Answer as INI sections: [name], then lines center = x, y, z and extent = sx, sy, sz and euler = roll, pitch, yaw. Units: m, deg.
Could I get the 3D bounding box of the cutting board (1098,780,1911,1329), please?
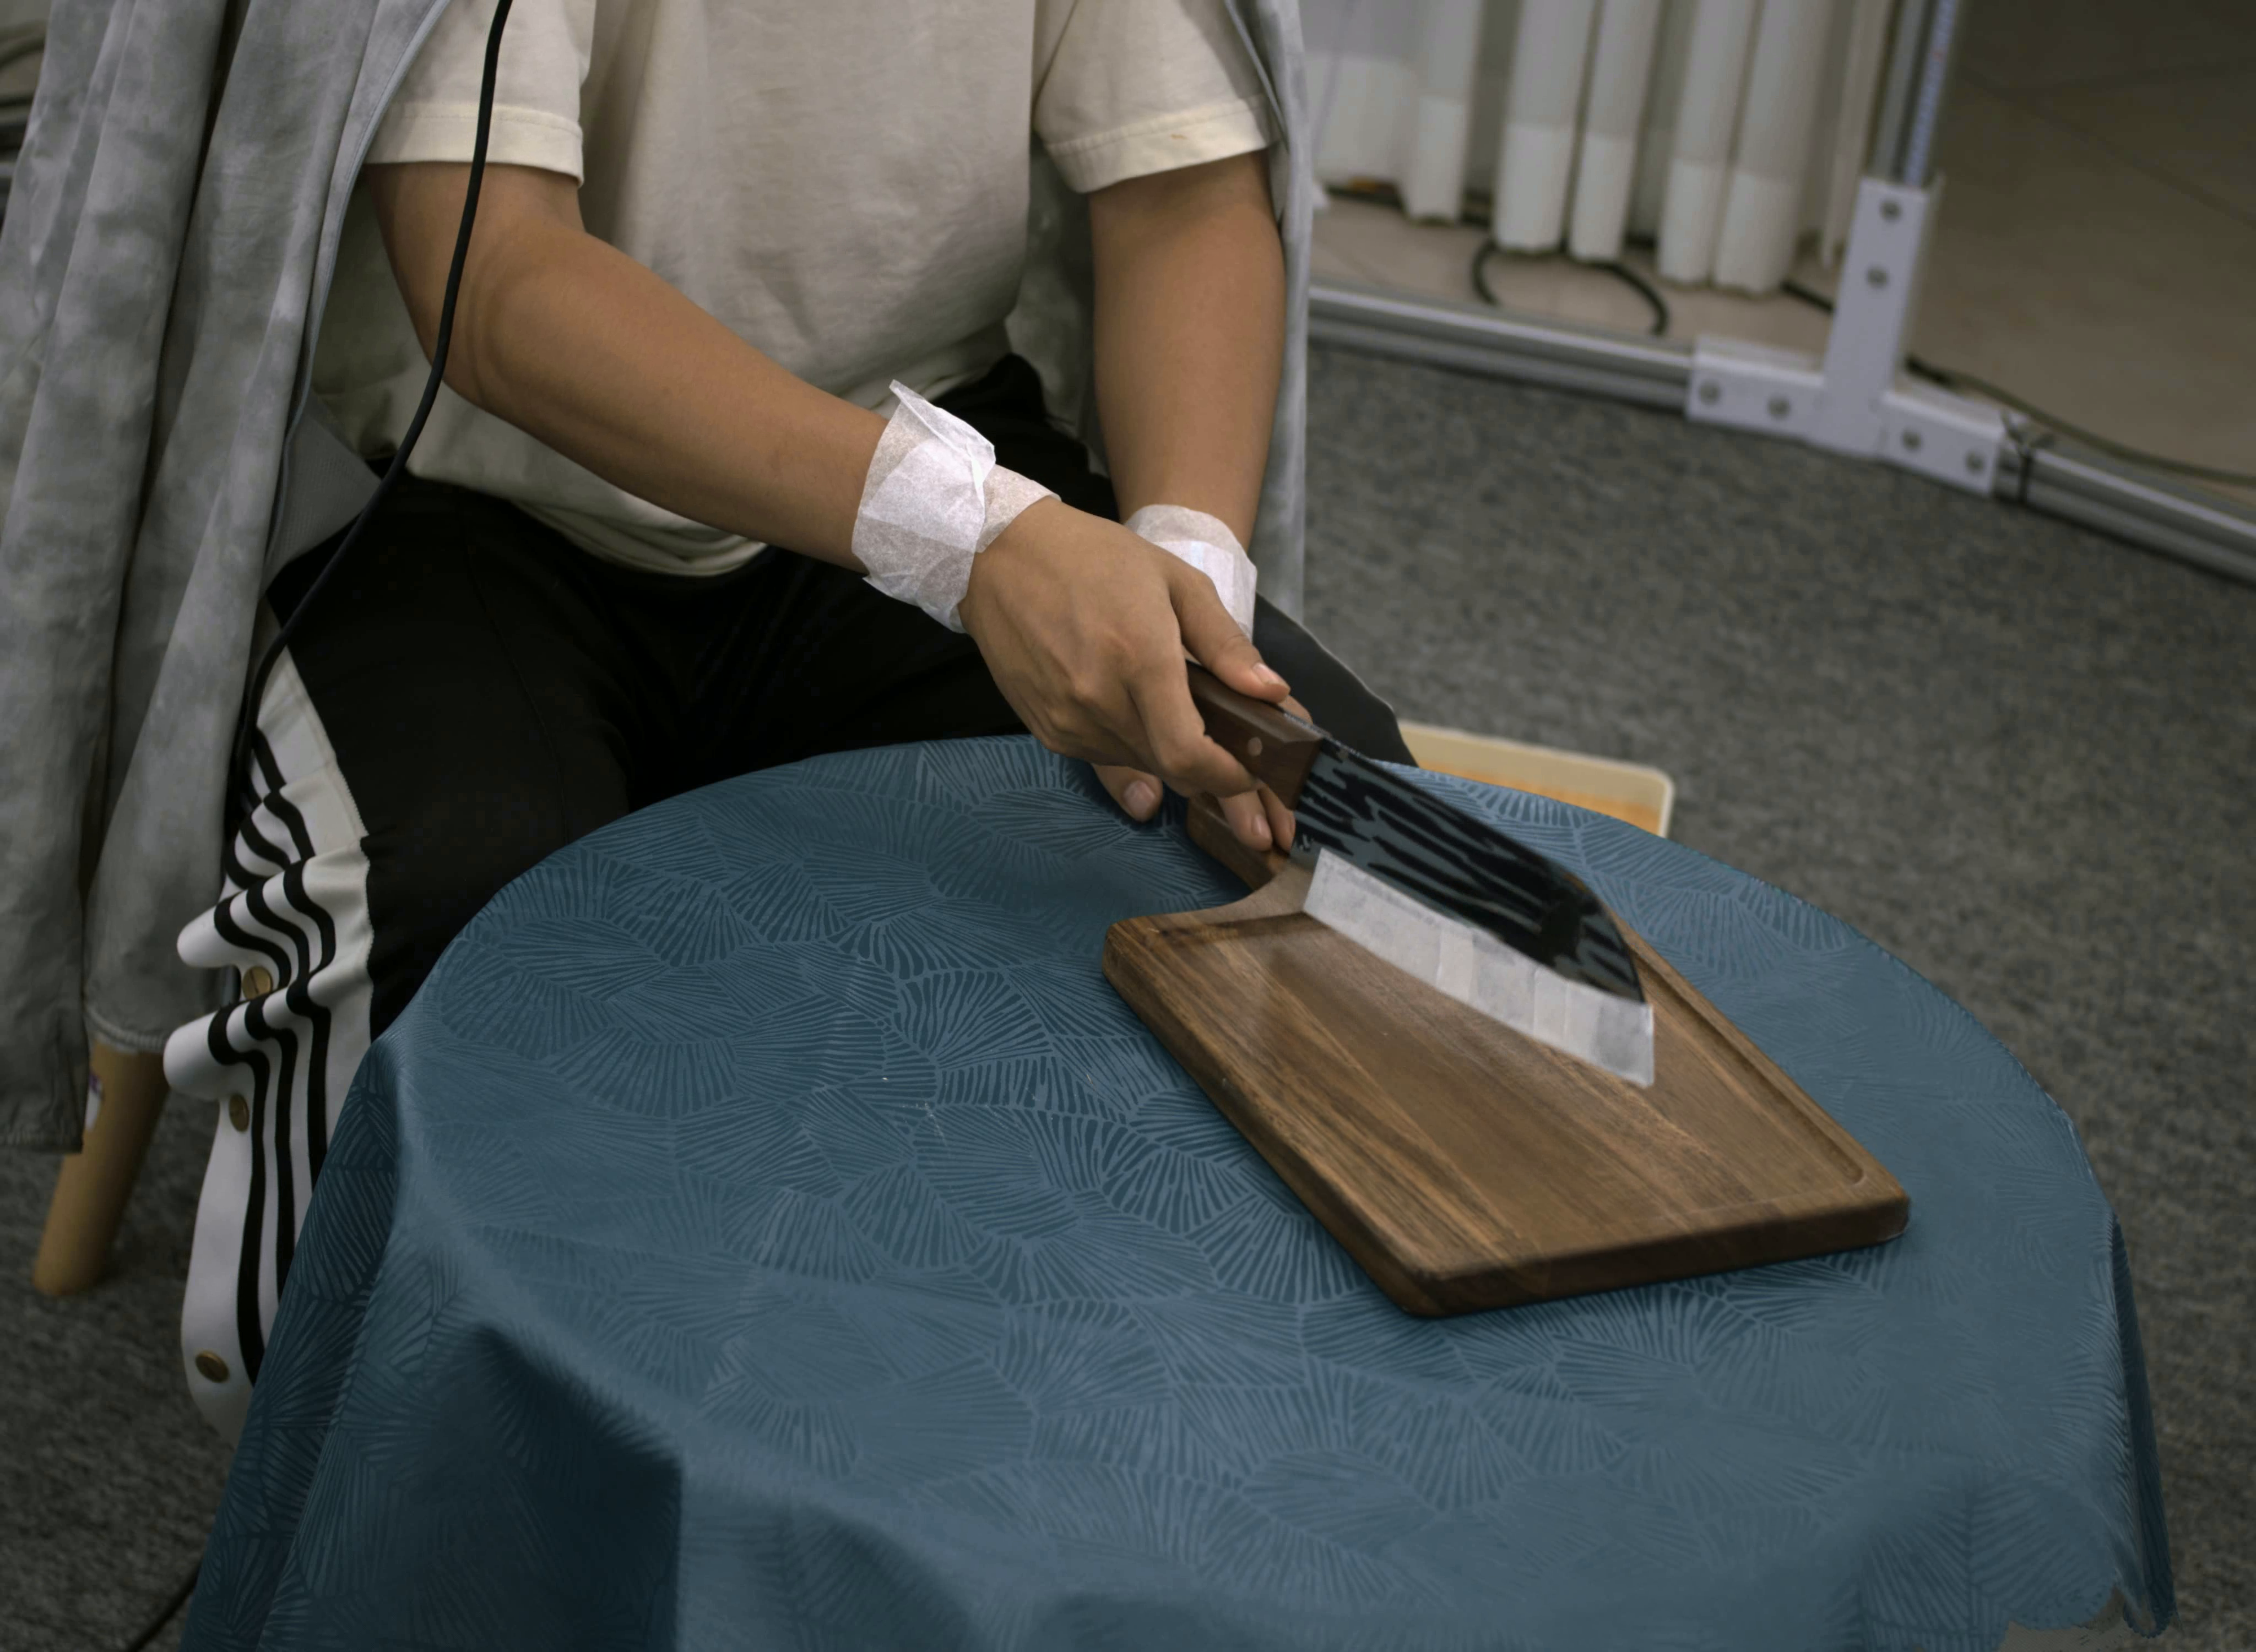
[cutting board]
center = 0.108, 0.068, 1.920
extent = 0.200, 0.023, 0.355
euler = -9, 30, -24

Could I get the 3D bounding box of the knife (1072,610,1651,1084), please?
[knife]
center = 0.082, 0.006, 1.923
extent = 0.024, 0.068, 0.302
euler = -12, 34, -44
